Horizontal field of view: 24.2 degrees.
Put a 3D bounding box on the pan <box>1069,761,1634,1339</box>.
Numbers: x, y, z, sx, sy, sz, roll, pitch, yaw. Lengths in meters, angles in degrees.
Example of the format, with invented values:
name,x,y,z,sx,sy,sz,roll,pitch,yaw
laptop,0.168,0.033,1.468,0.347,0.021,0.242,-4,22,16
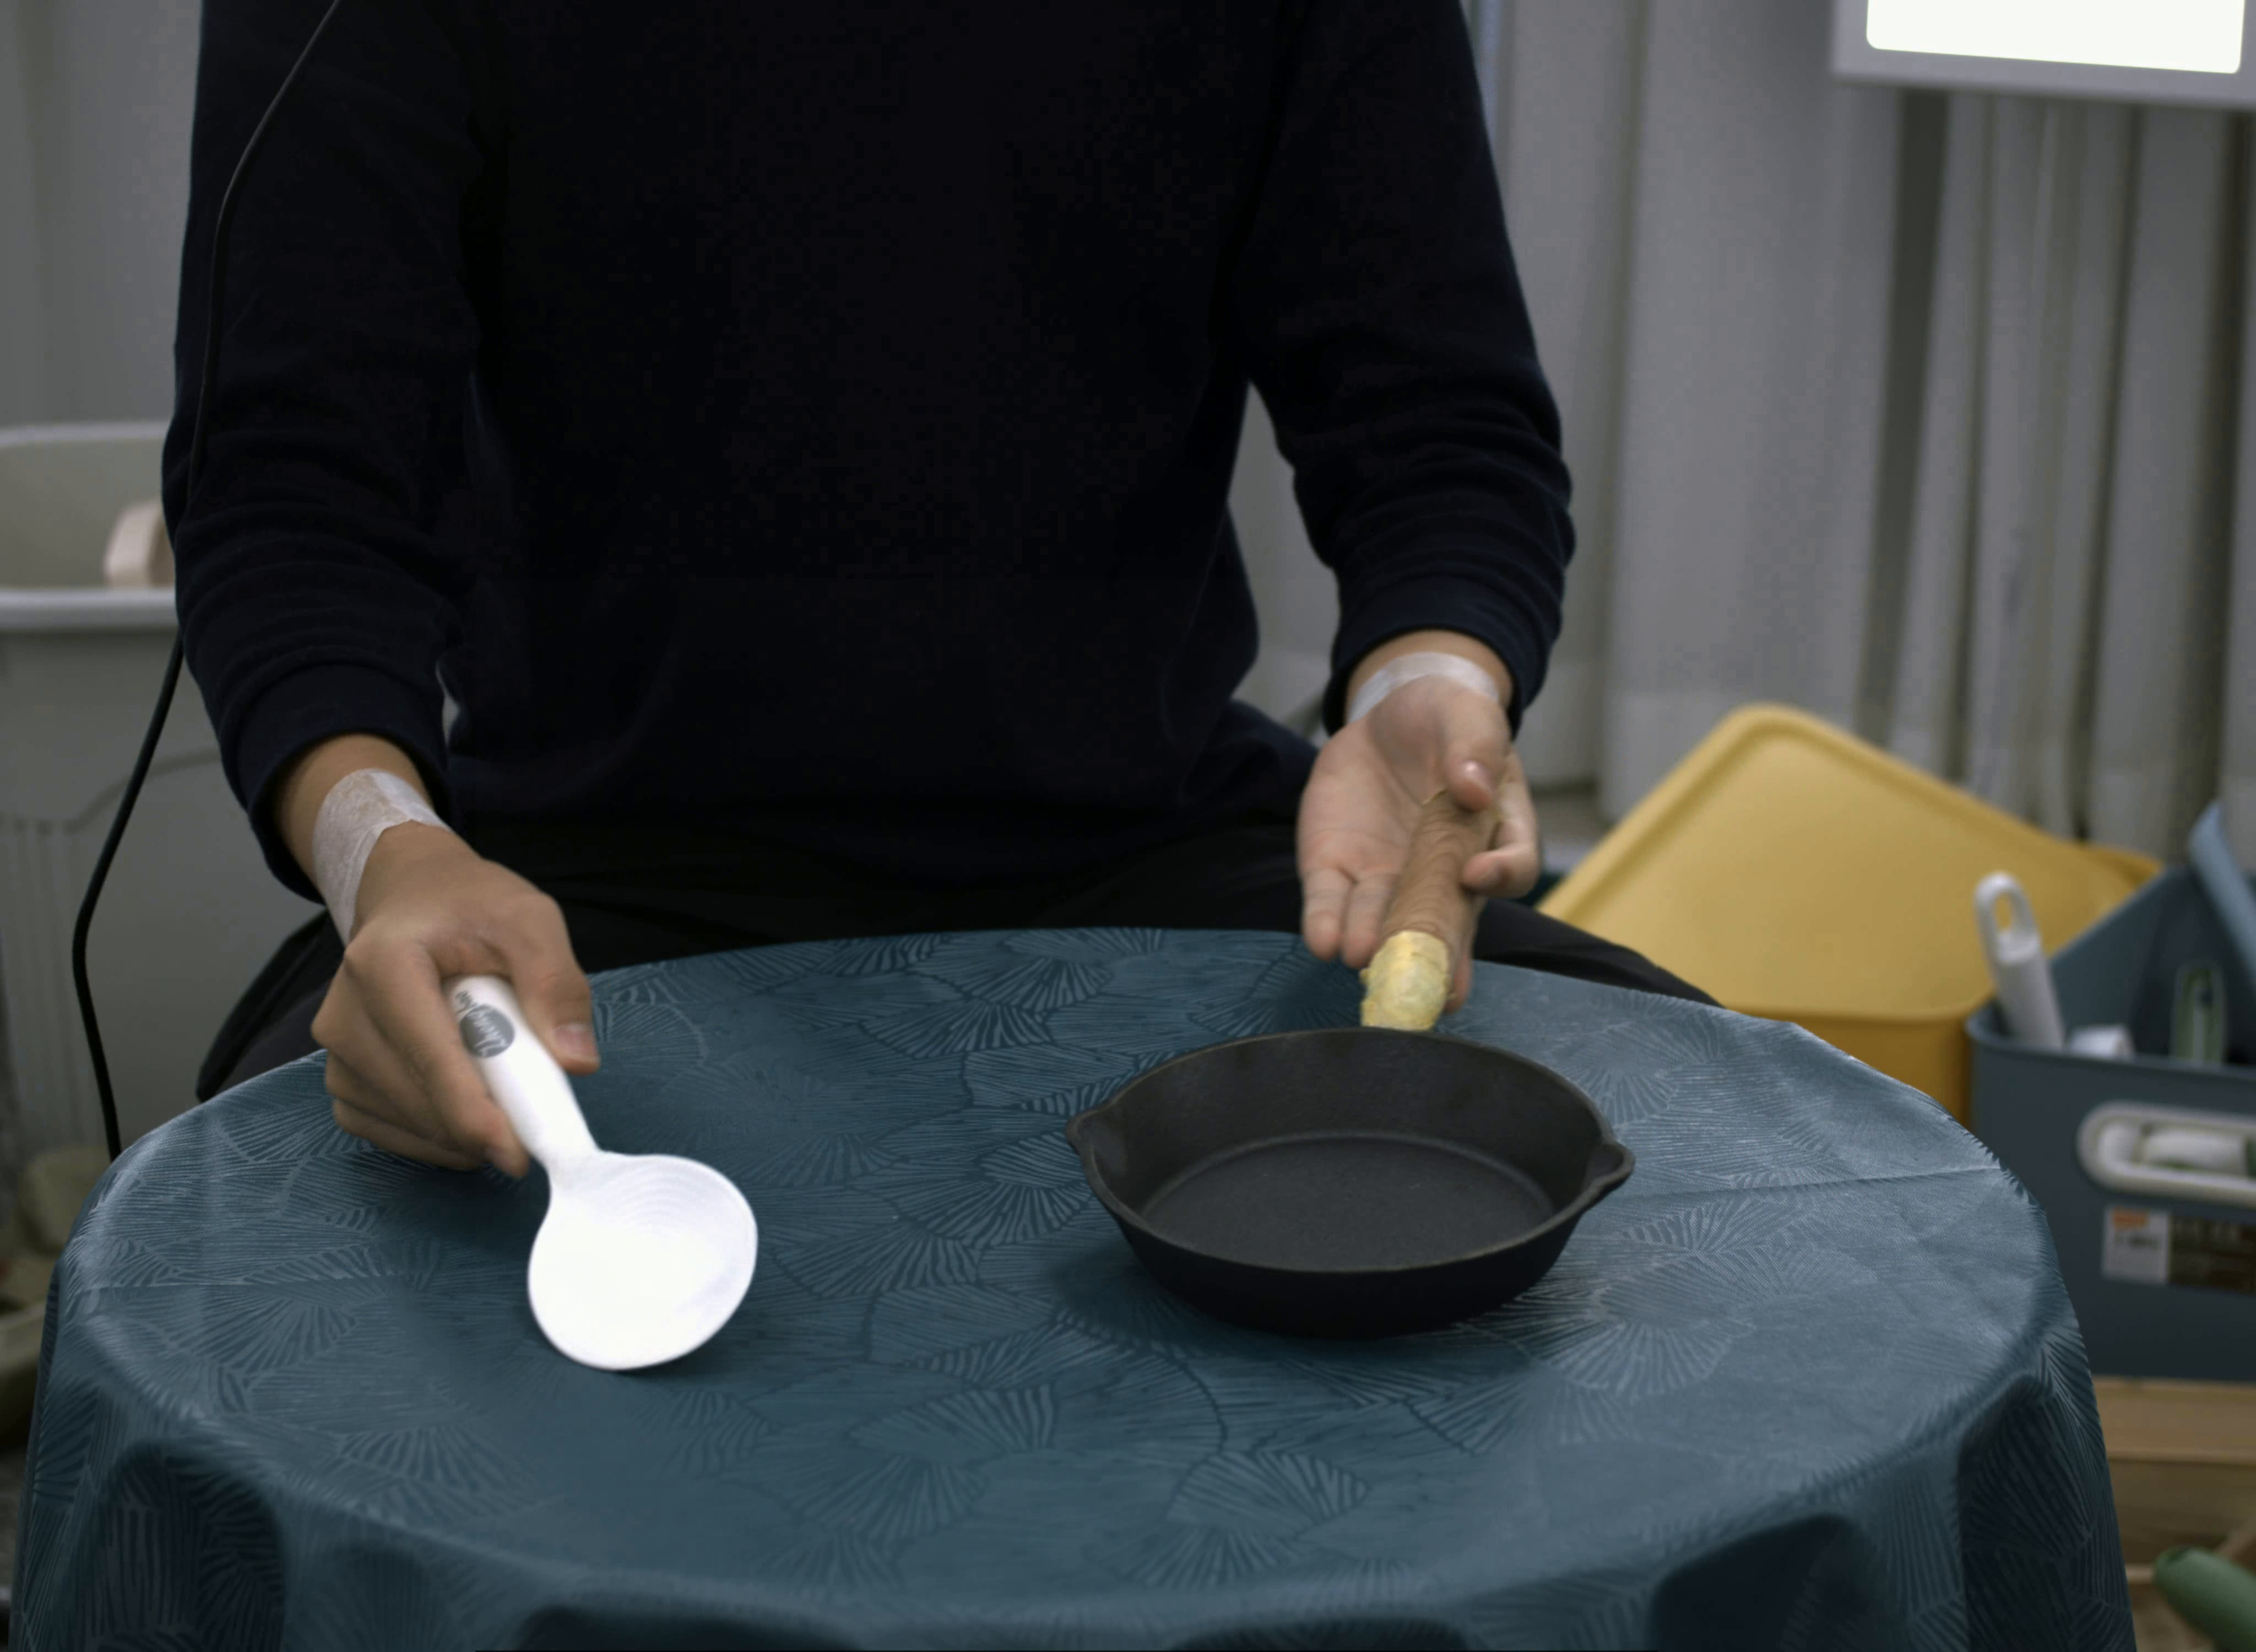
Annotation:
name,x,y,z,sx,sy,sz,roll,pitch,yaw
pan,0.085,0.065,1.623,0.167,0.050,0.323,5,26,13

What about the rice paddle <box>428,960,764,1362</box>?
name,x,y,z,sx,sy,sz,roll,pitch,yaw
rice paddle,-0.160,0.096,1.546,0.069,0.030,0.202,-36,36,-6
